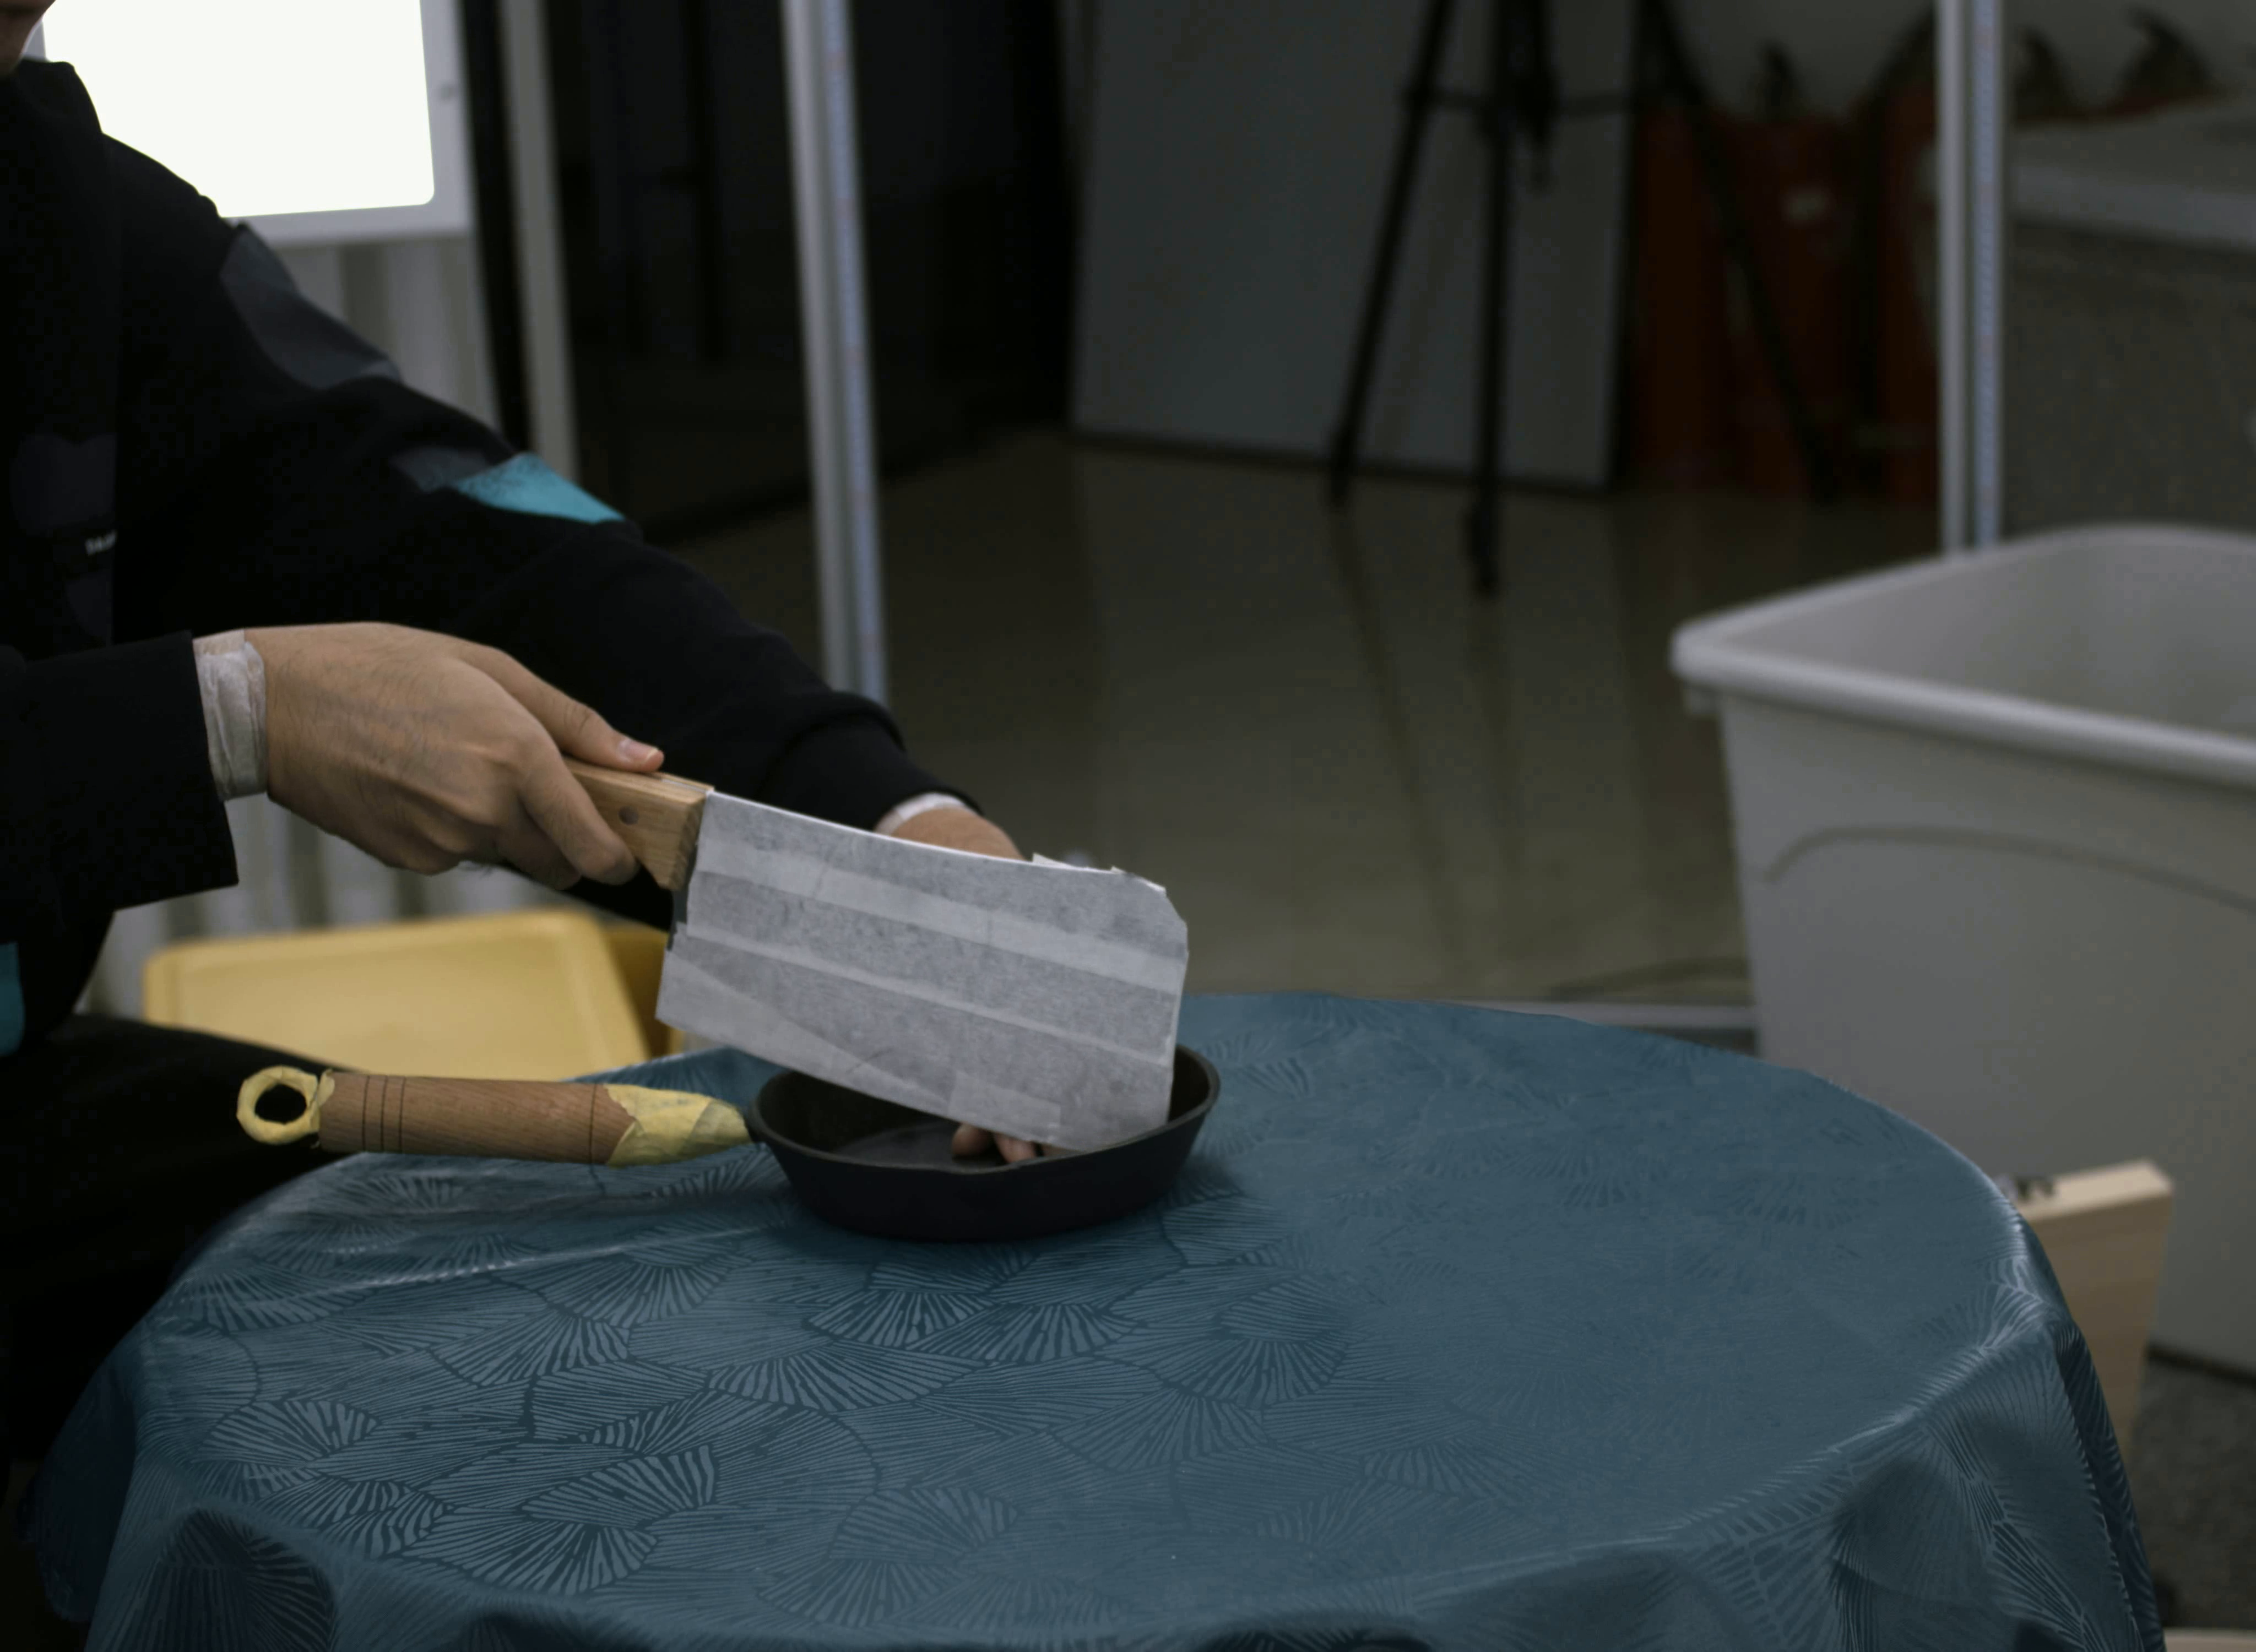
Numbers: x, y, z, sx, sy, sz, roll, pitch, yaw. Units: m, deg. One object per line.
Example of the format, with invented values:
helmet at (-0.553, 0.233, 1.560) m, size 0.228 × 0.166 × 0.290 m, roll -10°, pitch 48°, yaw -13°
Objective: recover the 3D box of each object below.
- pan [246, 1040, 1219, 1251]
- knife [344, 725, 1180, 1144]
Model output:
pan at (-0.129, 0.102, 1.784) m, size 0.320 × 0.050 × 0.169 m, roll -3°, pitch 14°, yaw 2°
knife at (-0.121, 0.025, 1.803) m, size 0.315 × 0.115 × 0.021 m, roll 19°, pitch 19°, yaw 16°
